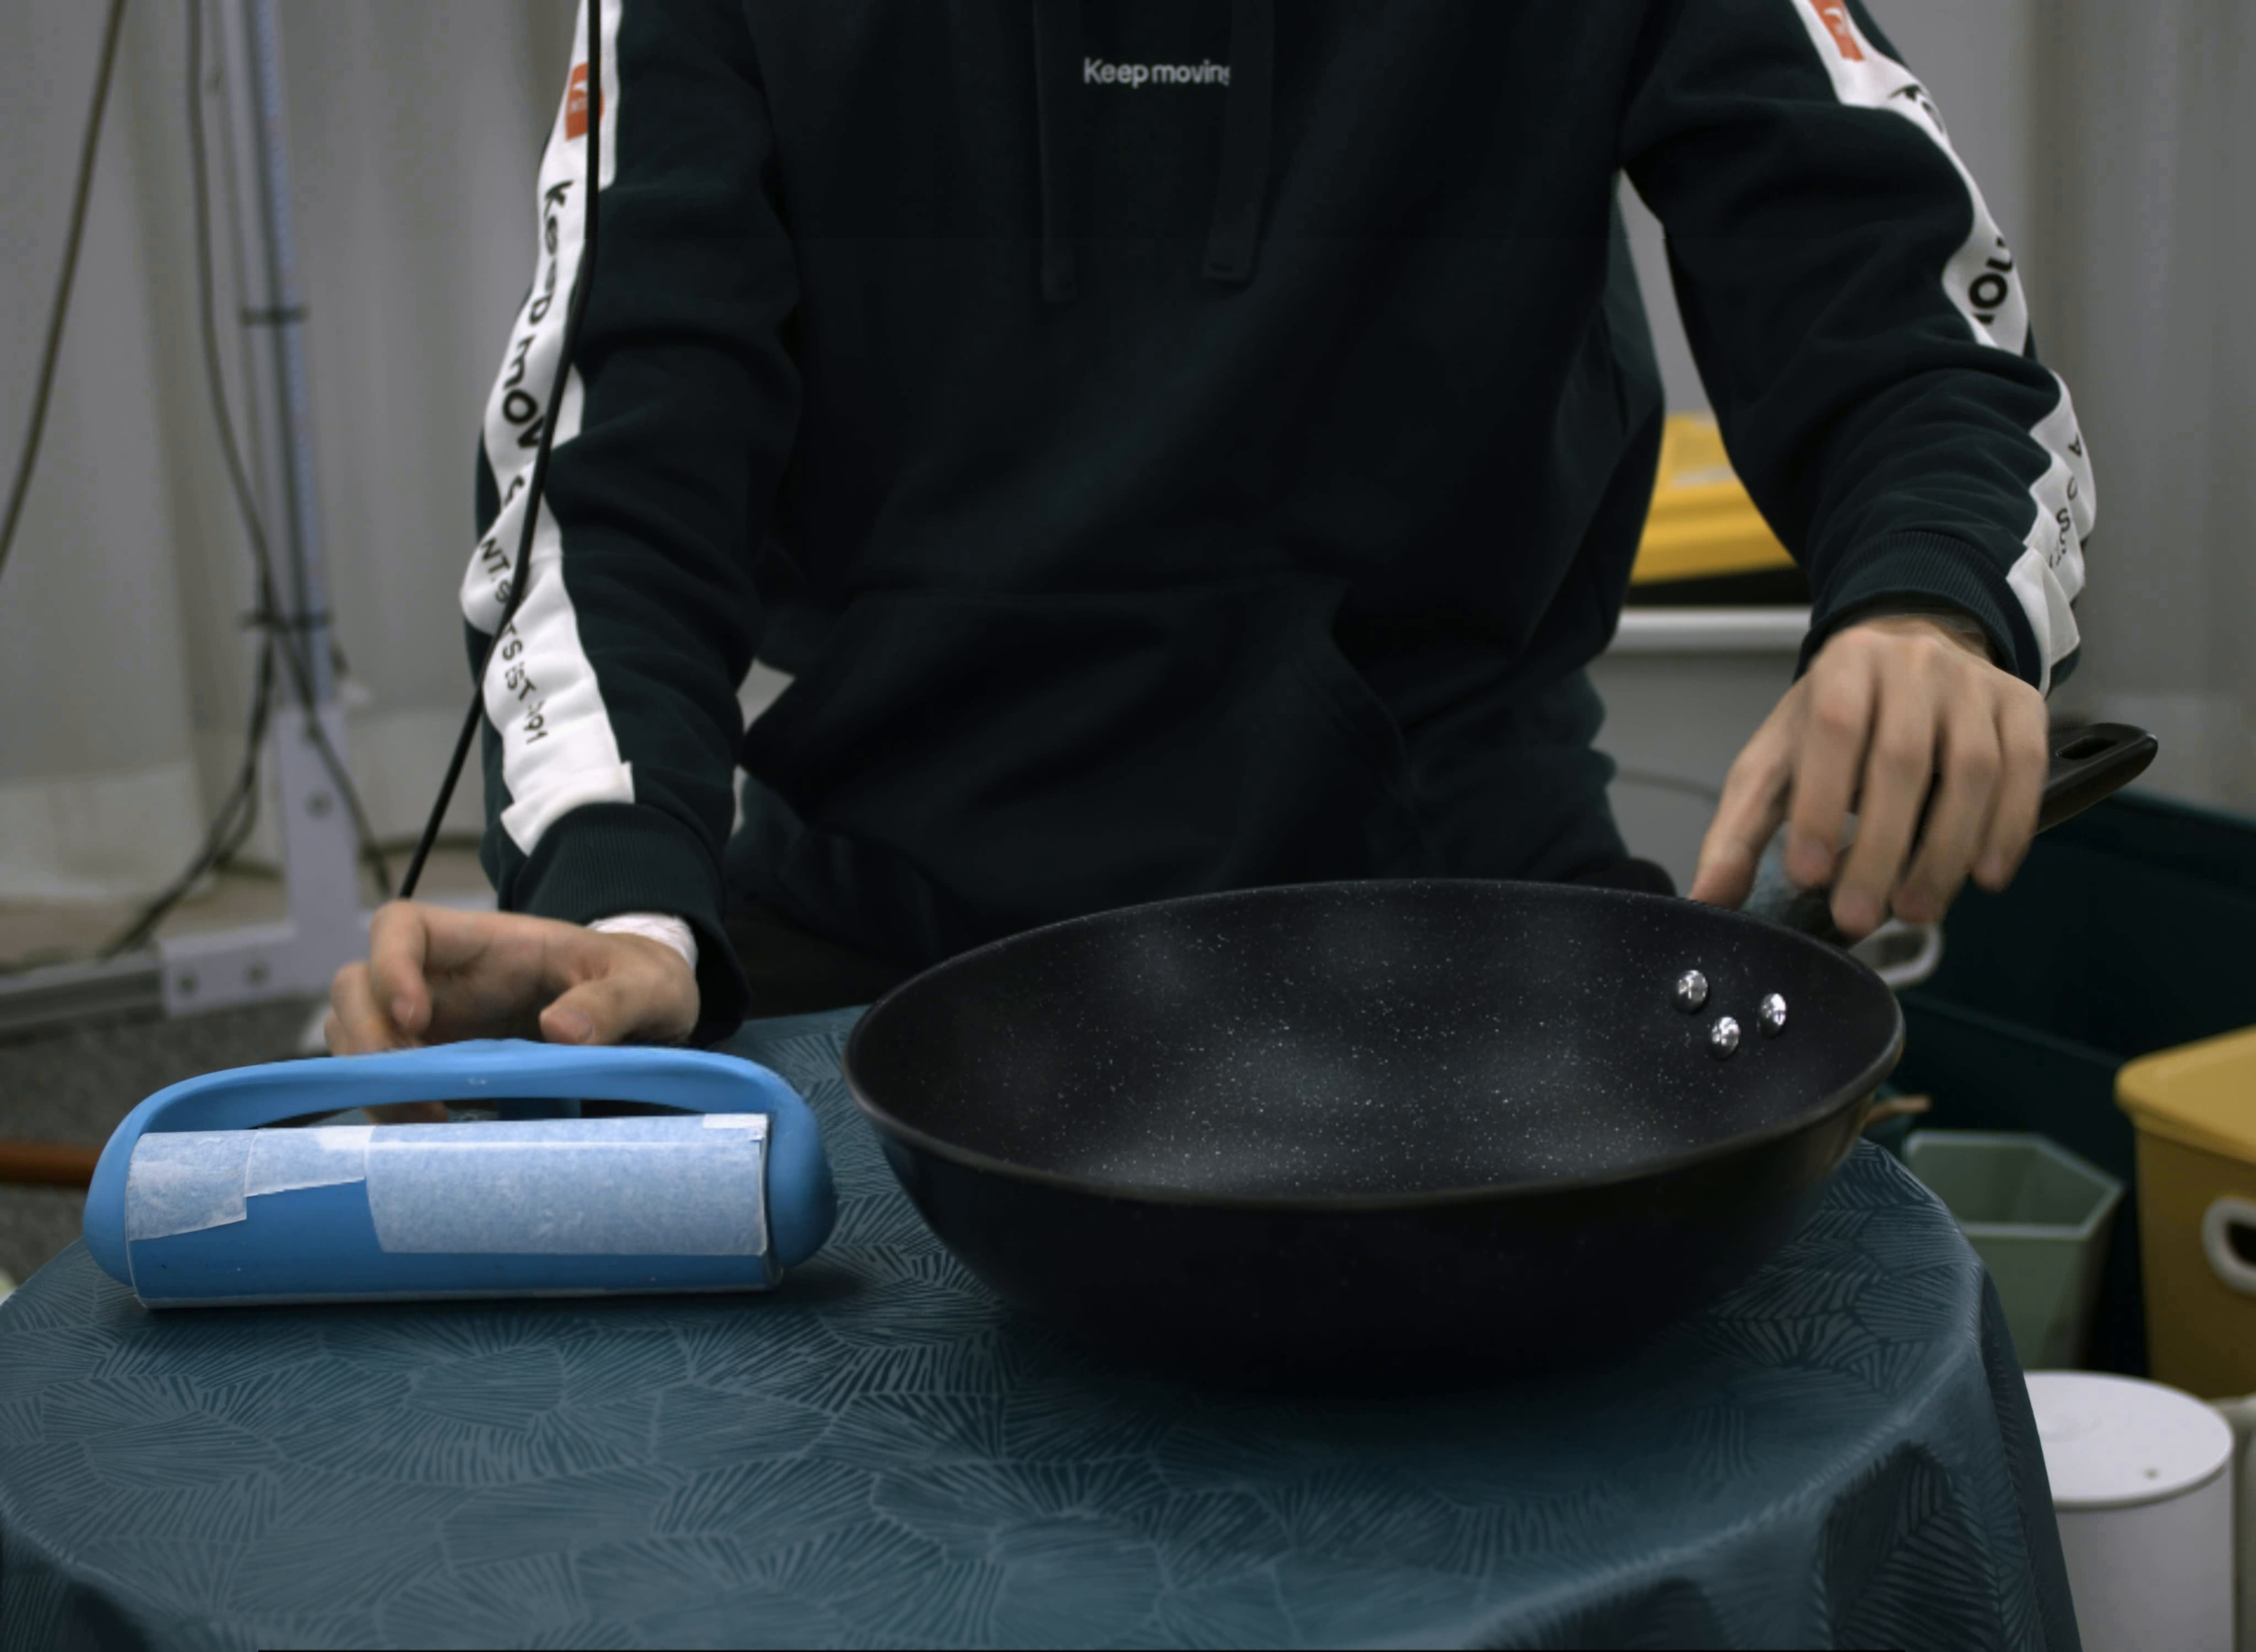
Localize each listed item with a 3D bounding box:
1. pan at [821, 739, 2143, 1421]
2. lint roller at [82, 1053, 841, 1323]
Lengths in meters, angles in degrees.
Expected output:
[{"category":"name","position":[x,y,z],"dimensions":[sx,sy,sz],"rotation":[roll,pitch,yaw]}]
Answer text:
[{"category":"pan","position":[0.132,0.074,1.637],"dimensions":[0.475,0.111,0.312],"rotation":[-14,20,-35]},{"category":"lint roller","position":[-0.200,0.101,1.699],"dimensions":[0.228,0.067,0.181],"rotation":[-5,15,1]}]
